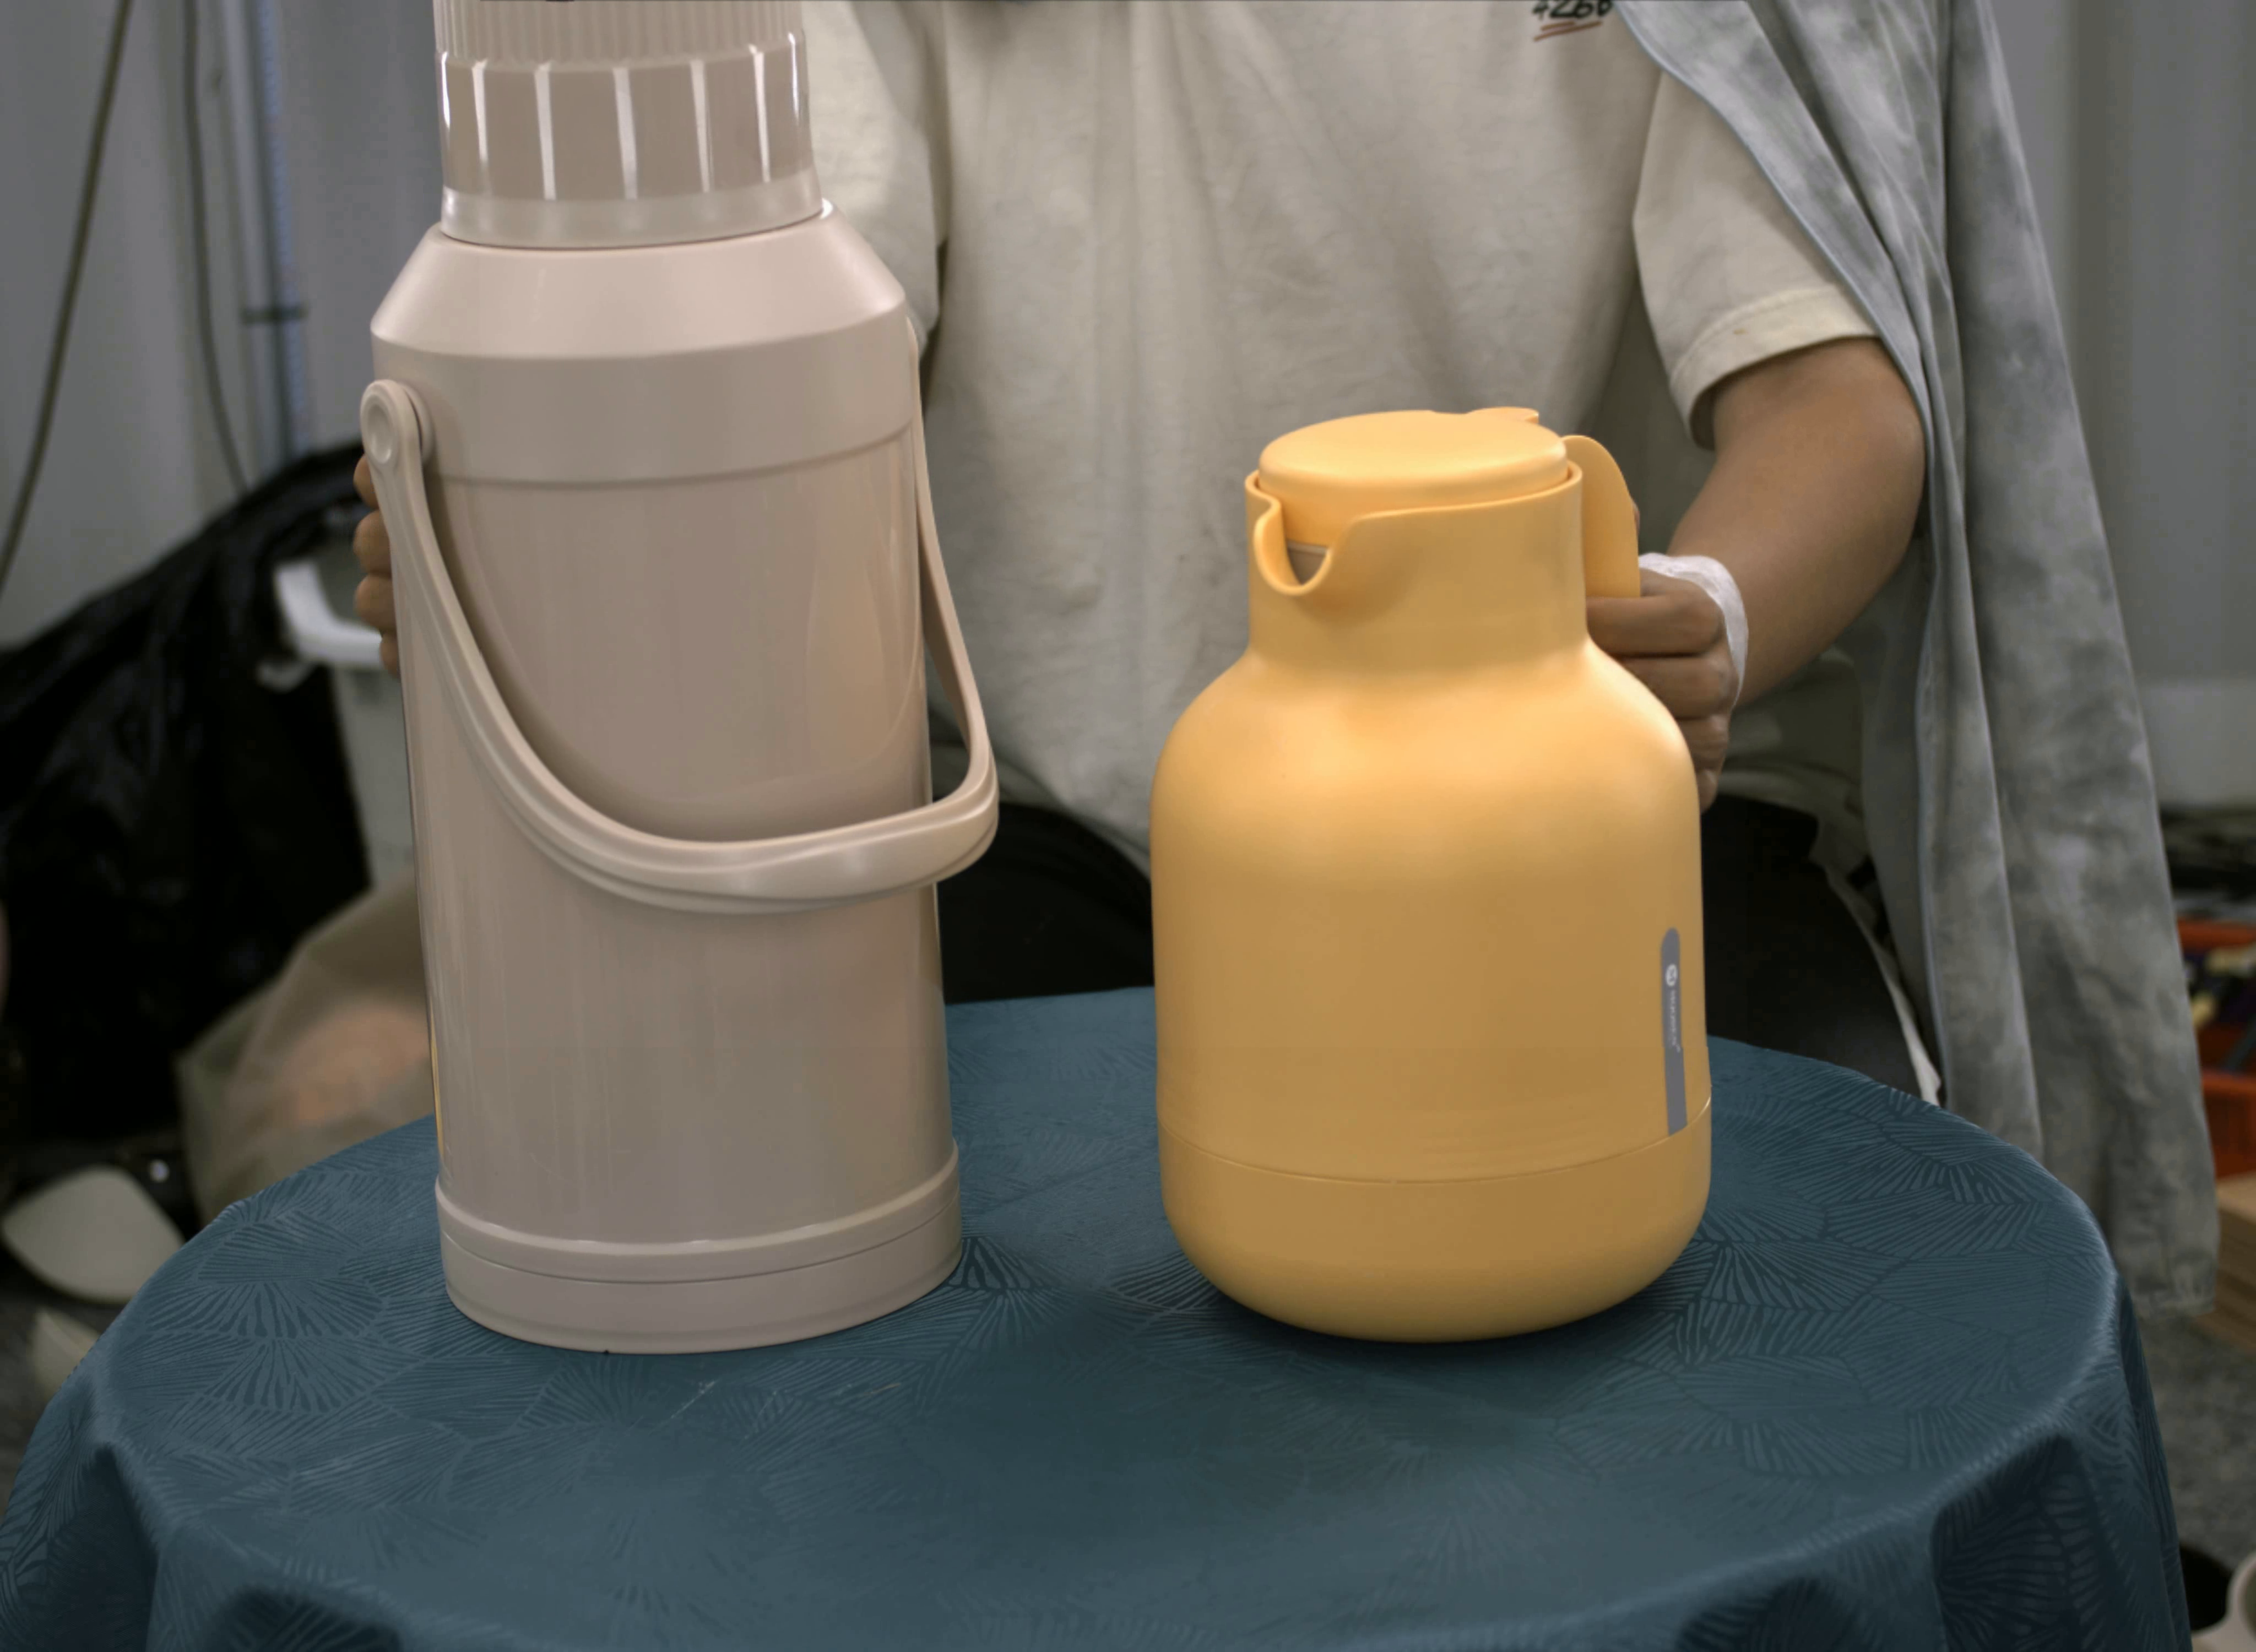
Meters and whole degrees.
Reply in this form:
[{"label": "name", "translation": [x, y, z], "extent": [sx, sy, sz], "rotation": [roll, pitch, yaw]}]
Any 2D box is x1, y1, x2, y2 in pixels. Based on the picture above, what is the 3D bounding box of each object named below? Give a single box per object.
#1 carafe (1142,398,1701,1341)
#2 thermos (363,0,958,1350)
[{"label": "carafe", "translation": [0.096, 0.005, 1.610], "extent": [0.164, 0.259, 0.202], "rotation": [9, 20, 32]}, {"label": "thermos", "translation": [-0.145, -0.061, 1.638], "extent": [0.175, 0.404, 0.208], "rotation": [-13, 17, -33]}]
